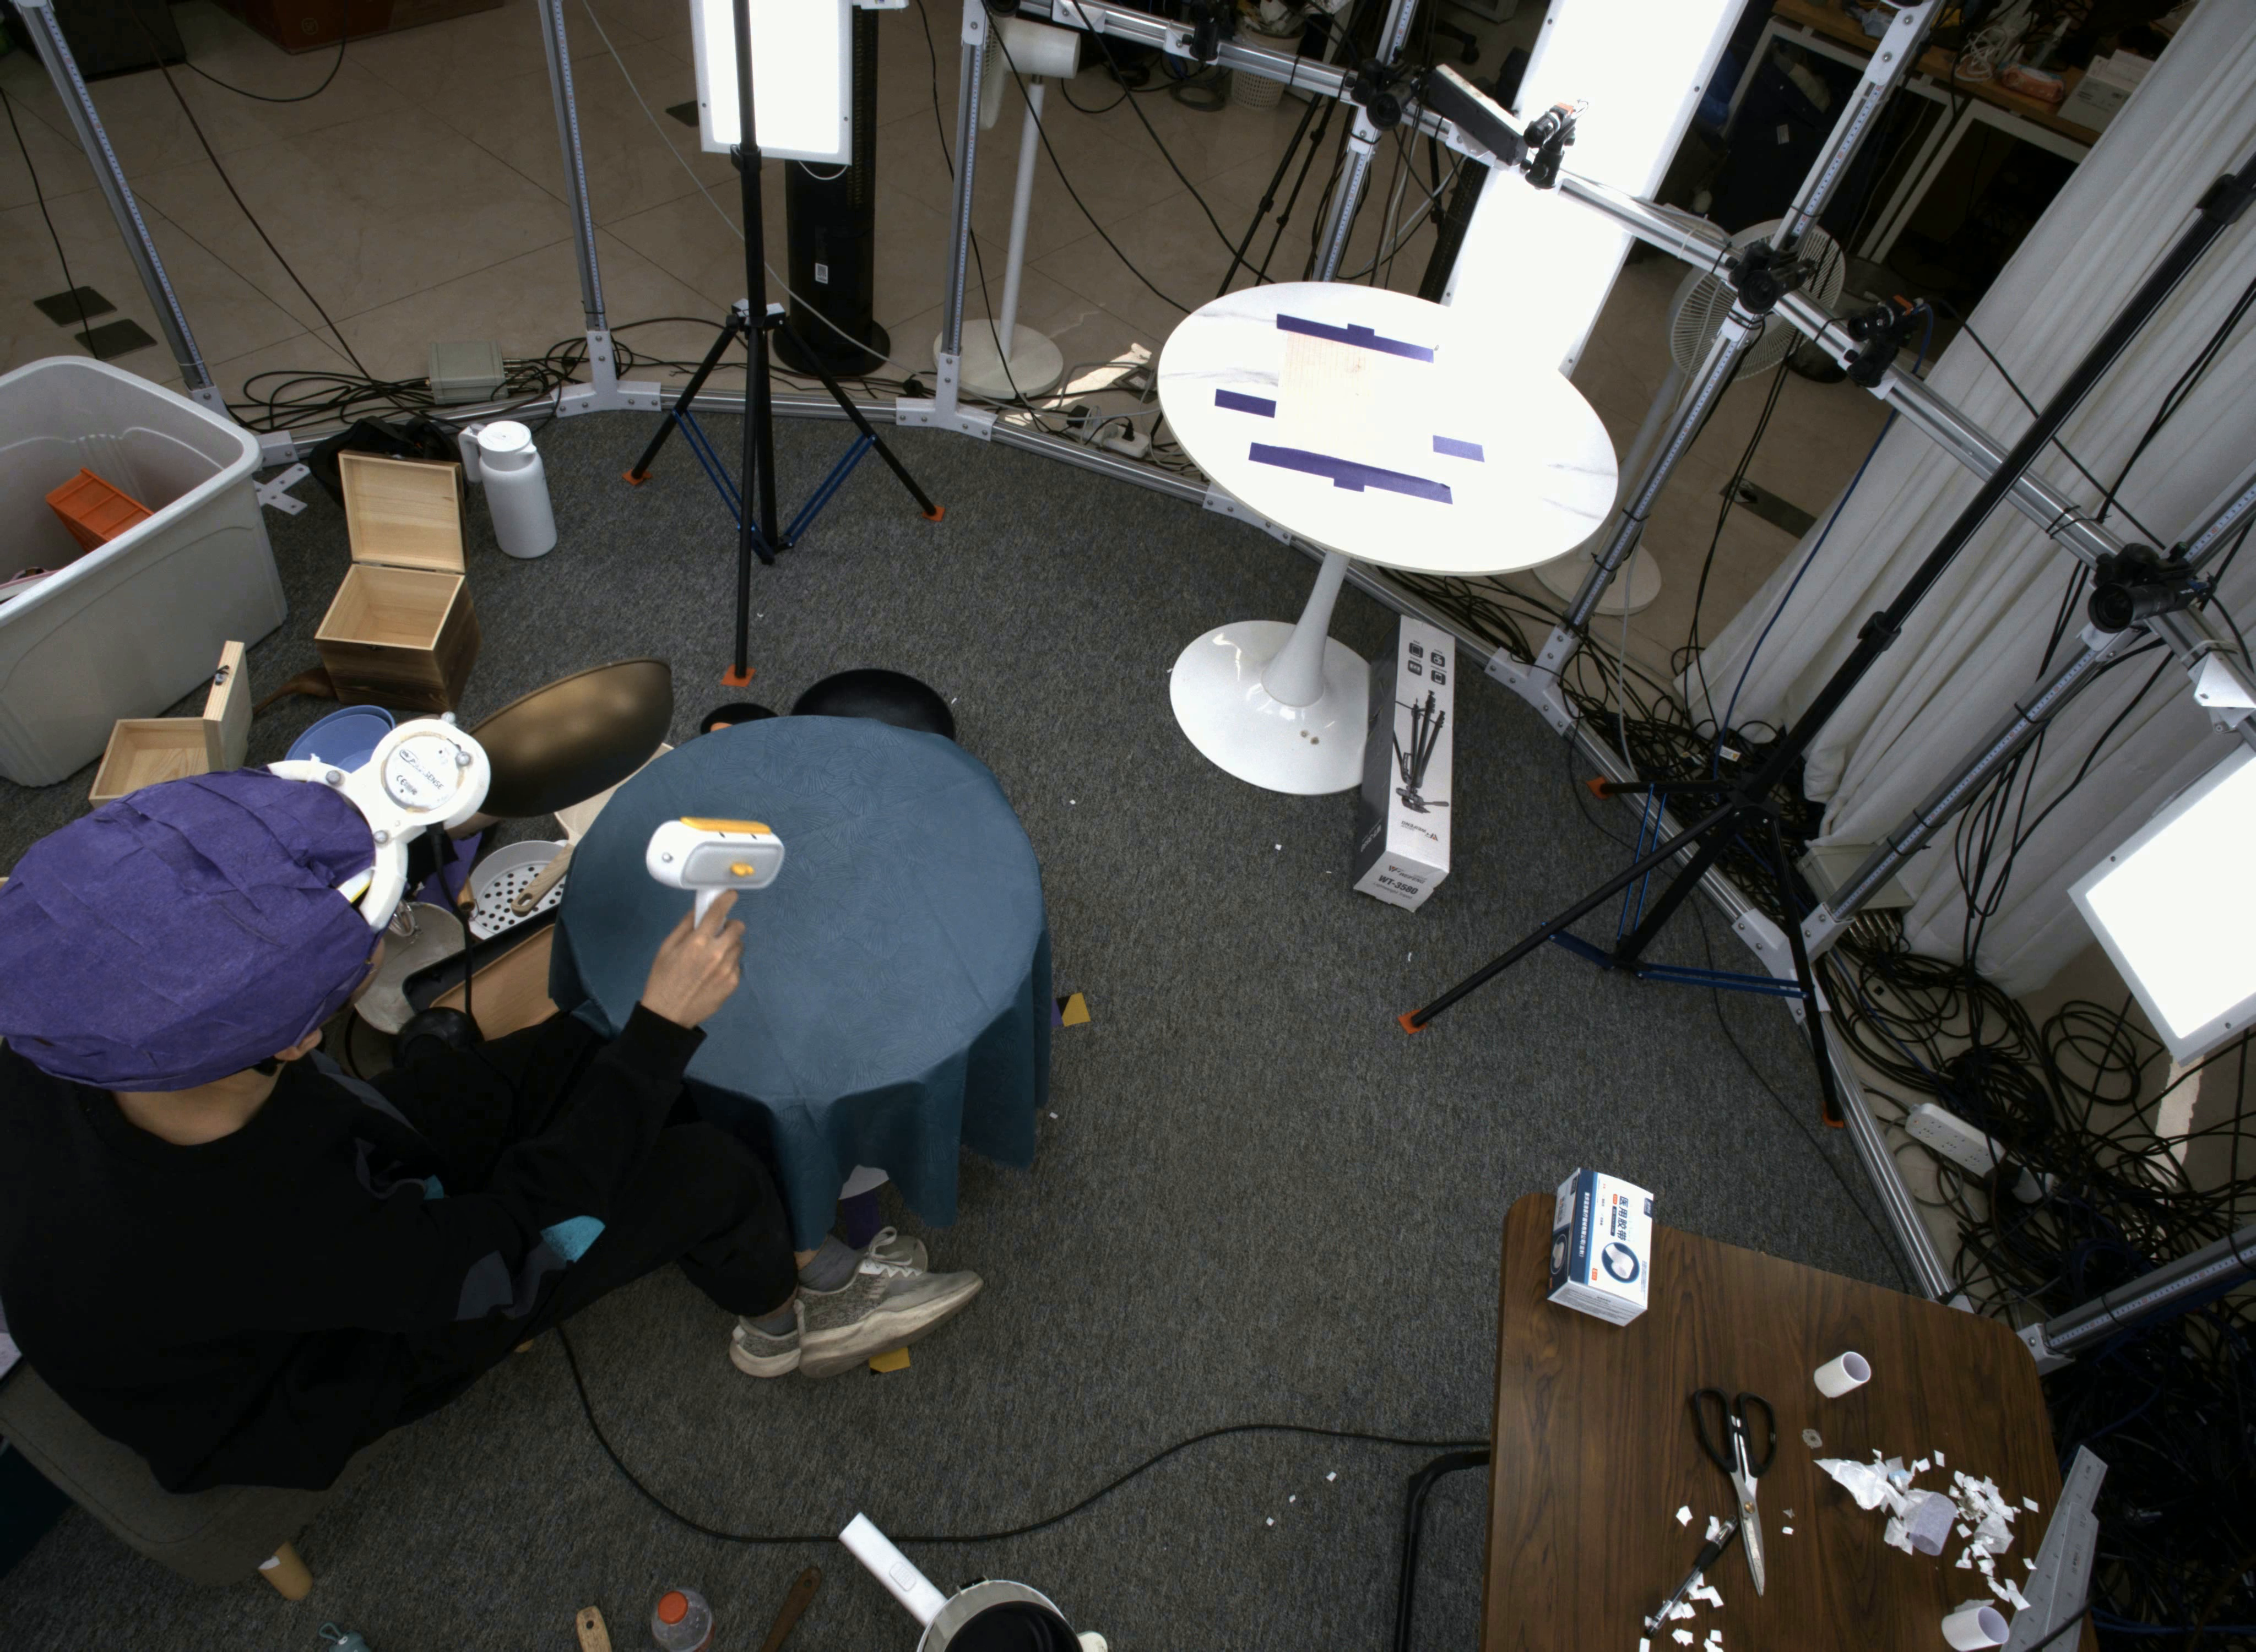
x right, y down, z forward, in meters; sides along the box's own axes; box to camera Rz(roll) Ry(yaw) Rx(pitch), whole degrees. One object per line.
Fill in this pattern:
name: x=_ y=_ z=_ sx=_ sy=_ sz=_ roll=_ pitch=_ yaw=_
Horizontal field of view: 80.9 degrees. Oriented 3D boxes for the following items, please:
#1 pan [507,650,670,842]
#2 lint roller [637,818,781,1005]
pan: x=-0.680 y=-0.051 z=1.473 sx=0.290 sy=0.457 sz=0.087 roll=-30 pitch=88 yaw=-49
lint roller: x=-0.446 y=0.089 z=1.366 sx=0.072 sy=0.195 sz=0.194 roll=18 pitch=8 yaw=14
